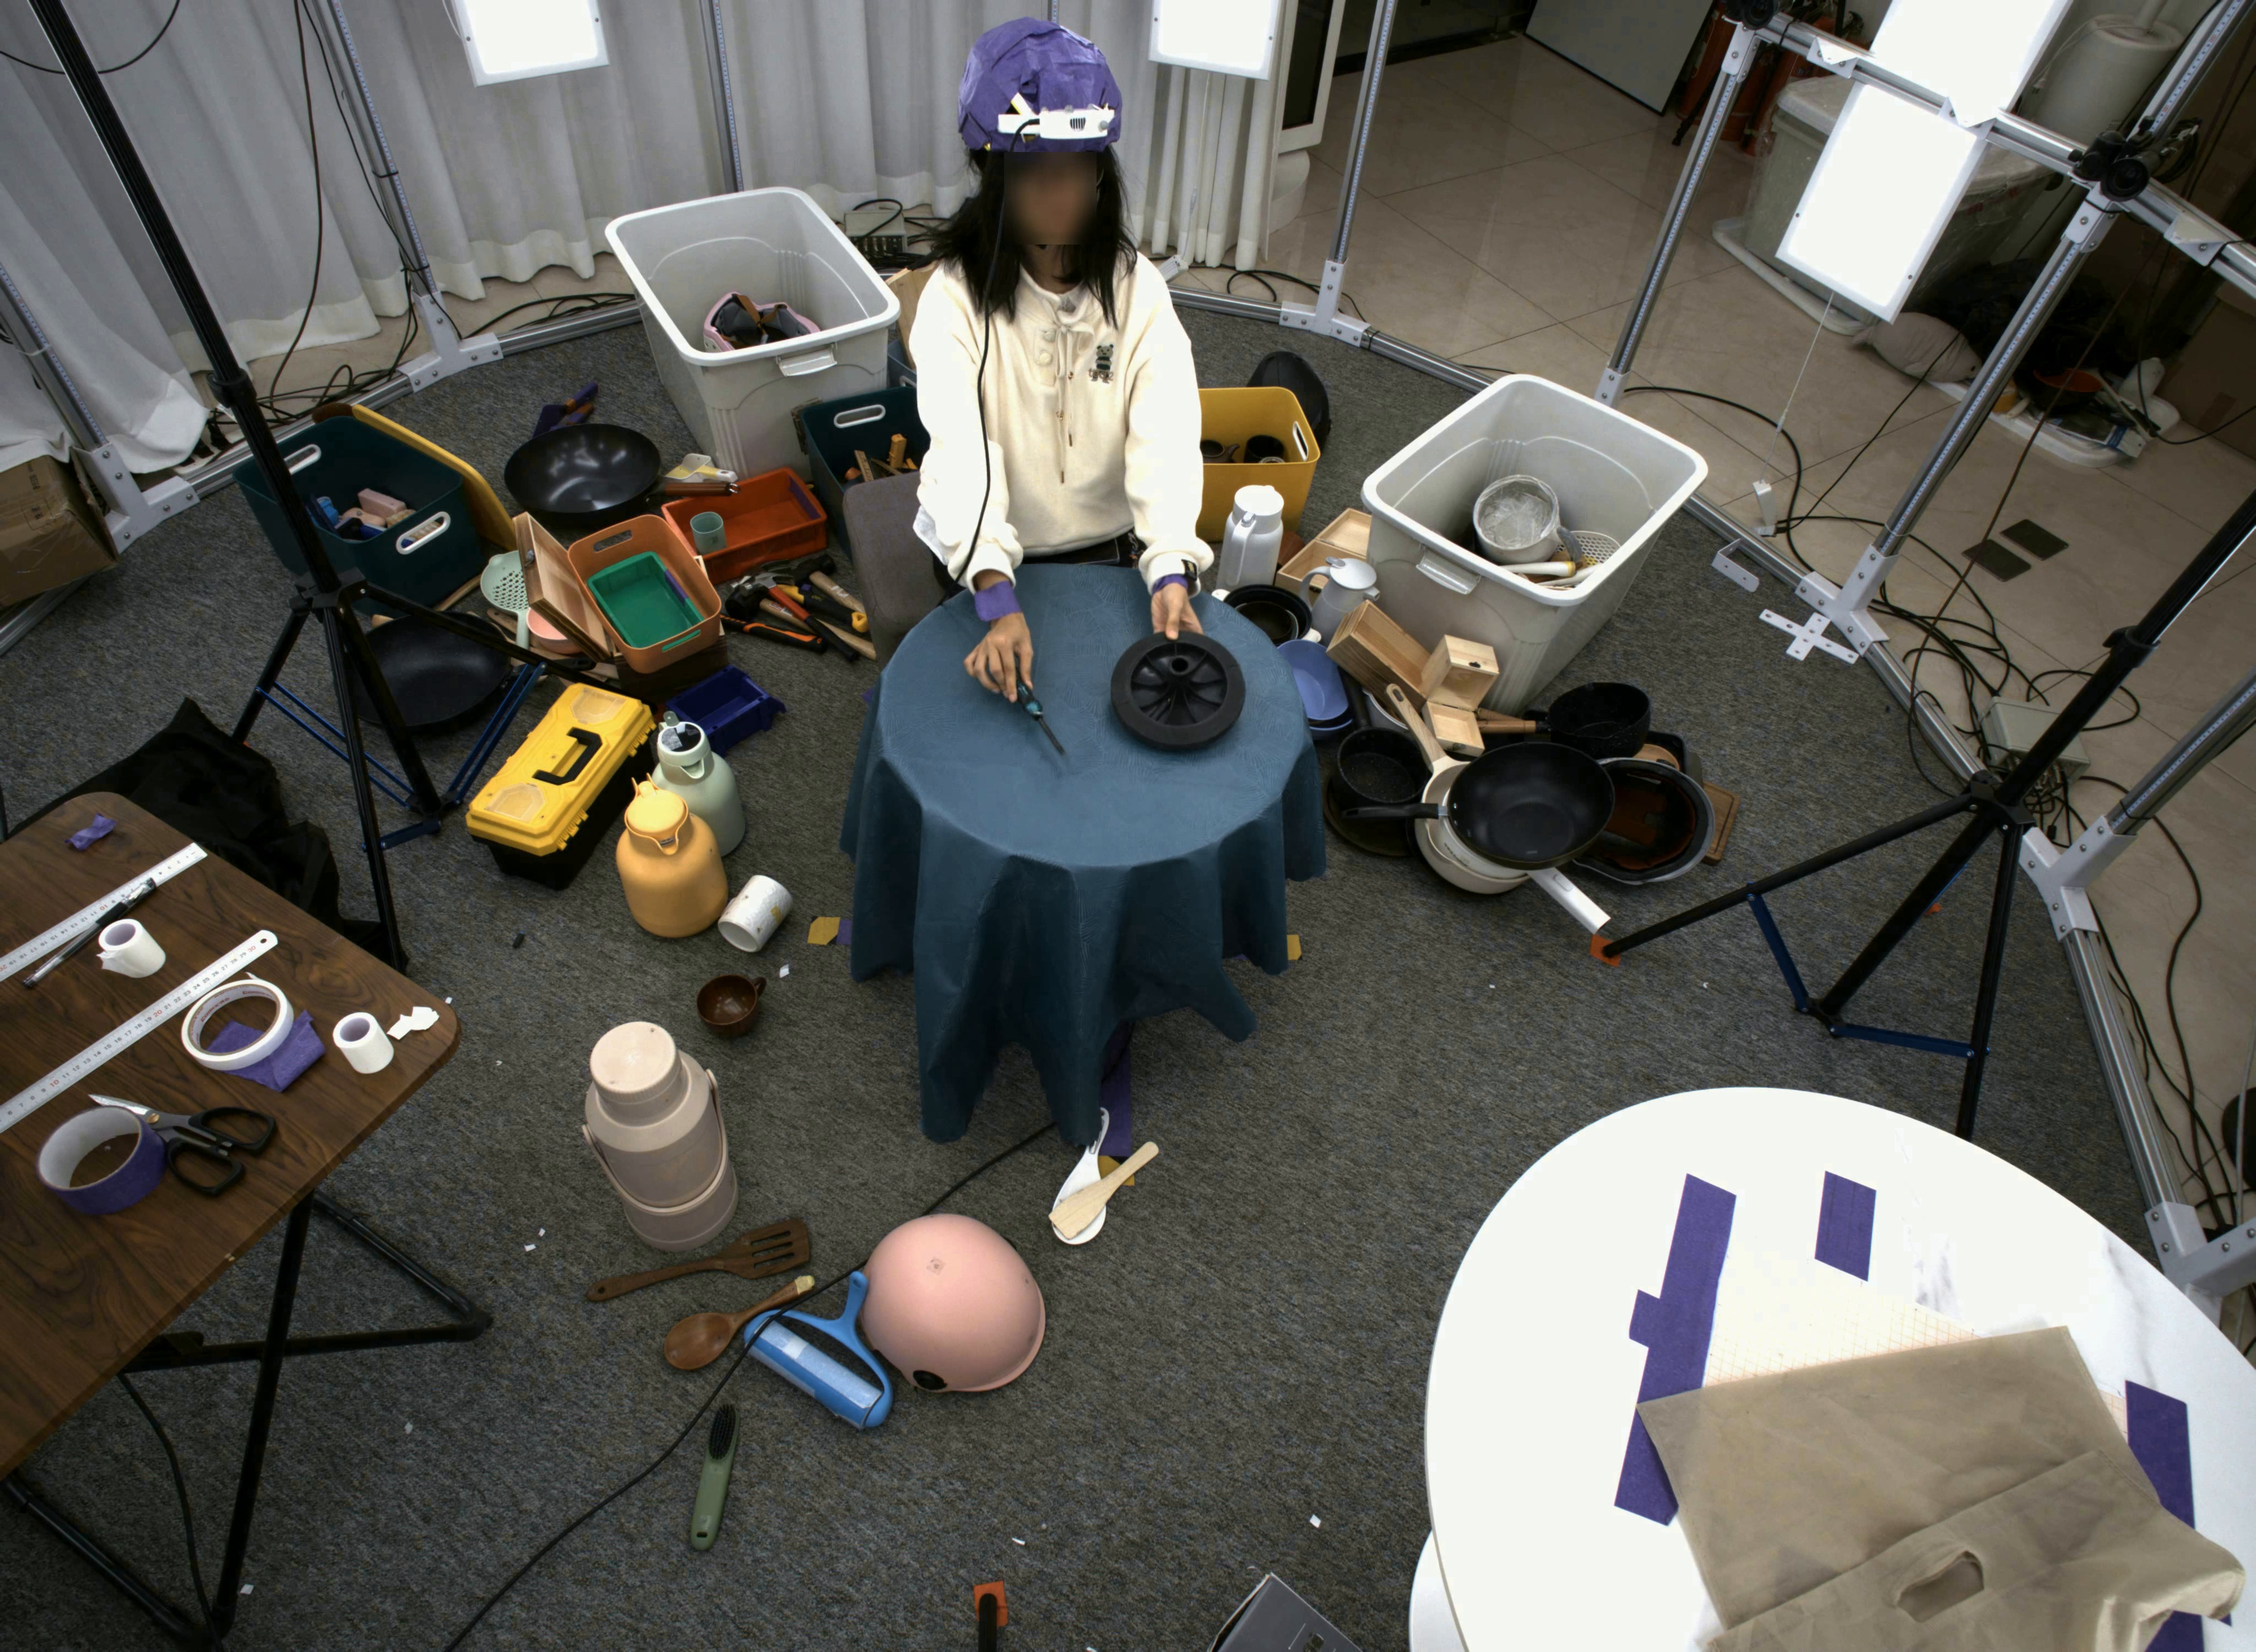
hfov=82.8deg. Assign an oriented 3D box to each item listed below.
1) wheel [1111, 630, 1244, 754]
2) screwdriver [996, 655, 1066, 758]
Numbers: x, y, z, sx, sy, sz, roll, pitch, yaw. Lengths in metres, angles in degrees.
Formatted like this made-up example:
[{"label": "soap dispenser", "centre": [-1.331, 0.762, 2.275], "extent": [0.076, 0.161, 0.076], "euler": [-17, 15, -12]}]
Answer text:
[{"label": "wheel", "centre": [0.069, -0.198, 1.777], "extent": [0.188, 0.077, 0.193], "euler": [12, 66, 7]}, {"label": "screwdriver", "centre": [-0.131, -0.163, 1.763], "extent": [0.034, 0.033, 0.194], "euler": [-21, 59, -21]}]
